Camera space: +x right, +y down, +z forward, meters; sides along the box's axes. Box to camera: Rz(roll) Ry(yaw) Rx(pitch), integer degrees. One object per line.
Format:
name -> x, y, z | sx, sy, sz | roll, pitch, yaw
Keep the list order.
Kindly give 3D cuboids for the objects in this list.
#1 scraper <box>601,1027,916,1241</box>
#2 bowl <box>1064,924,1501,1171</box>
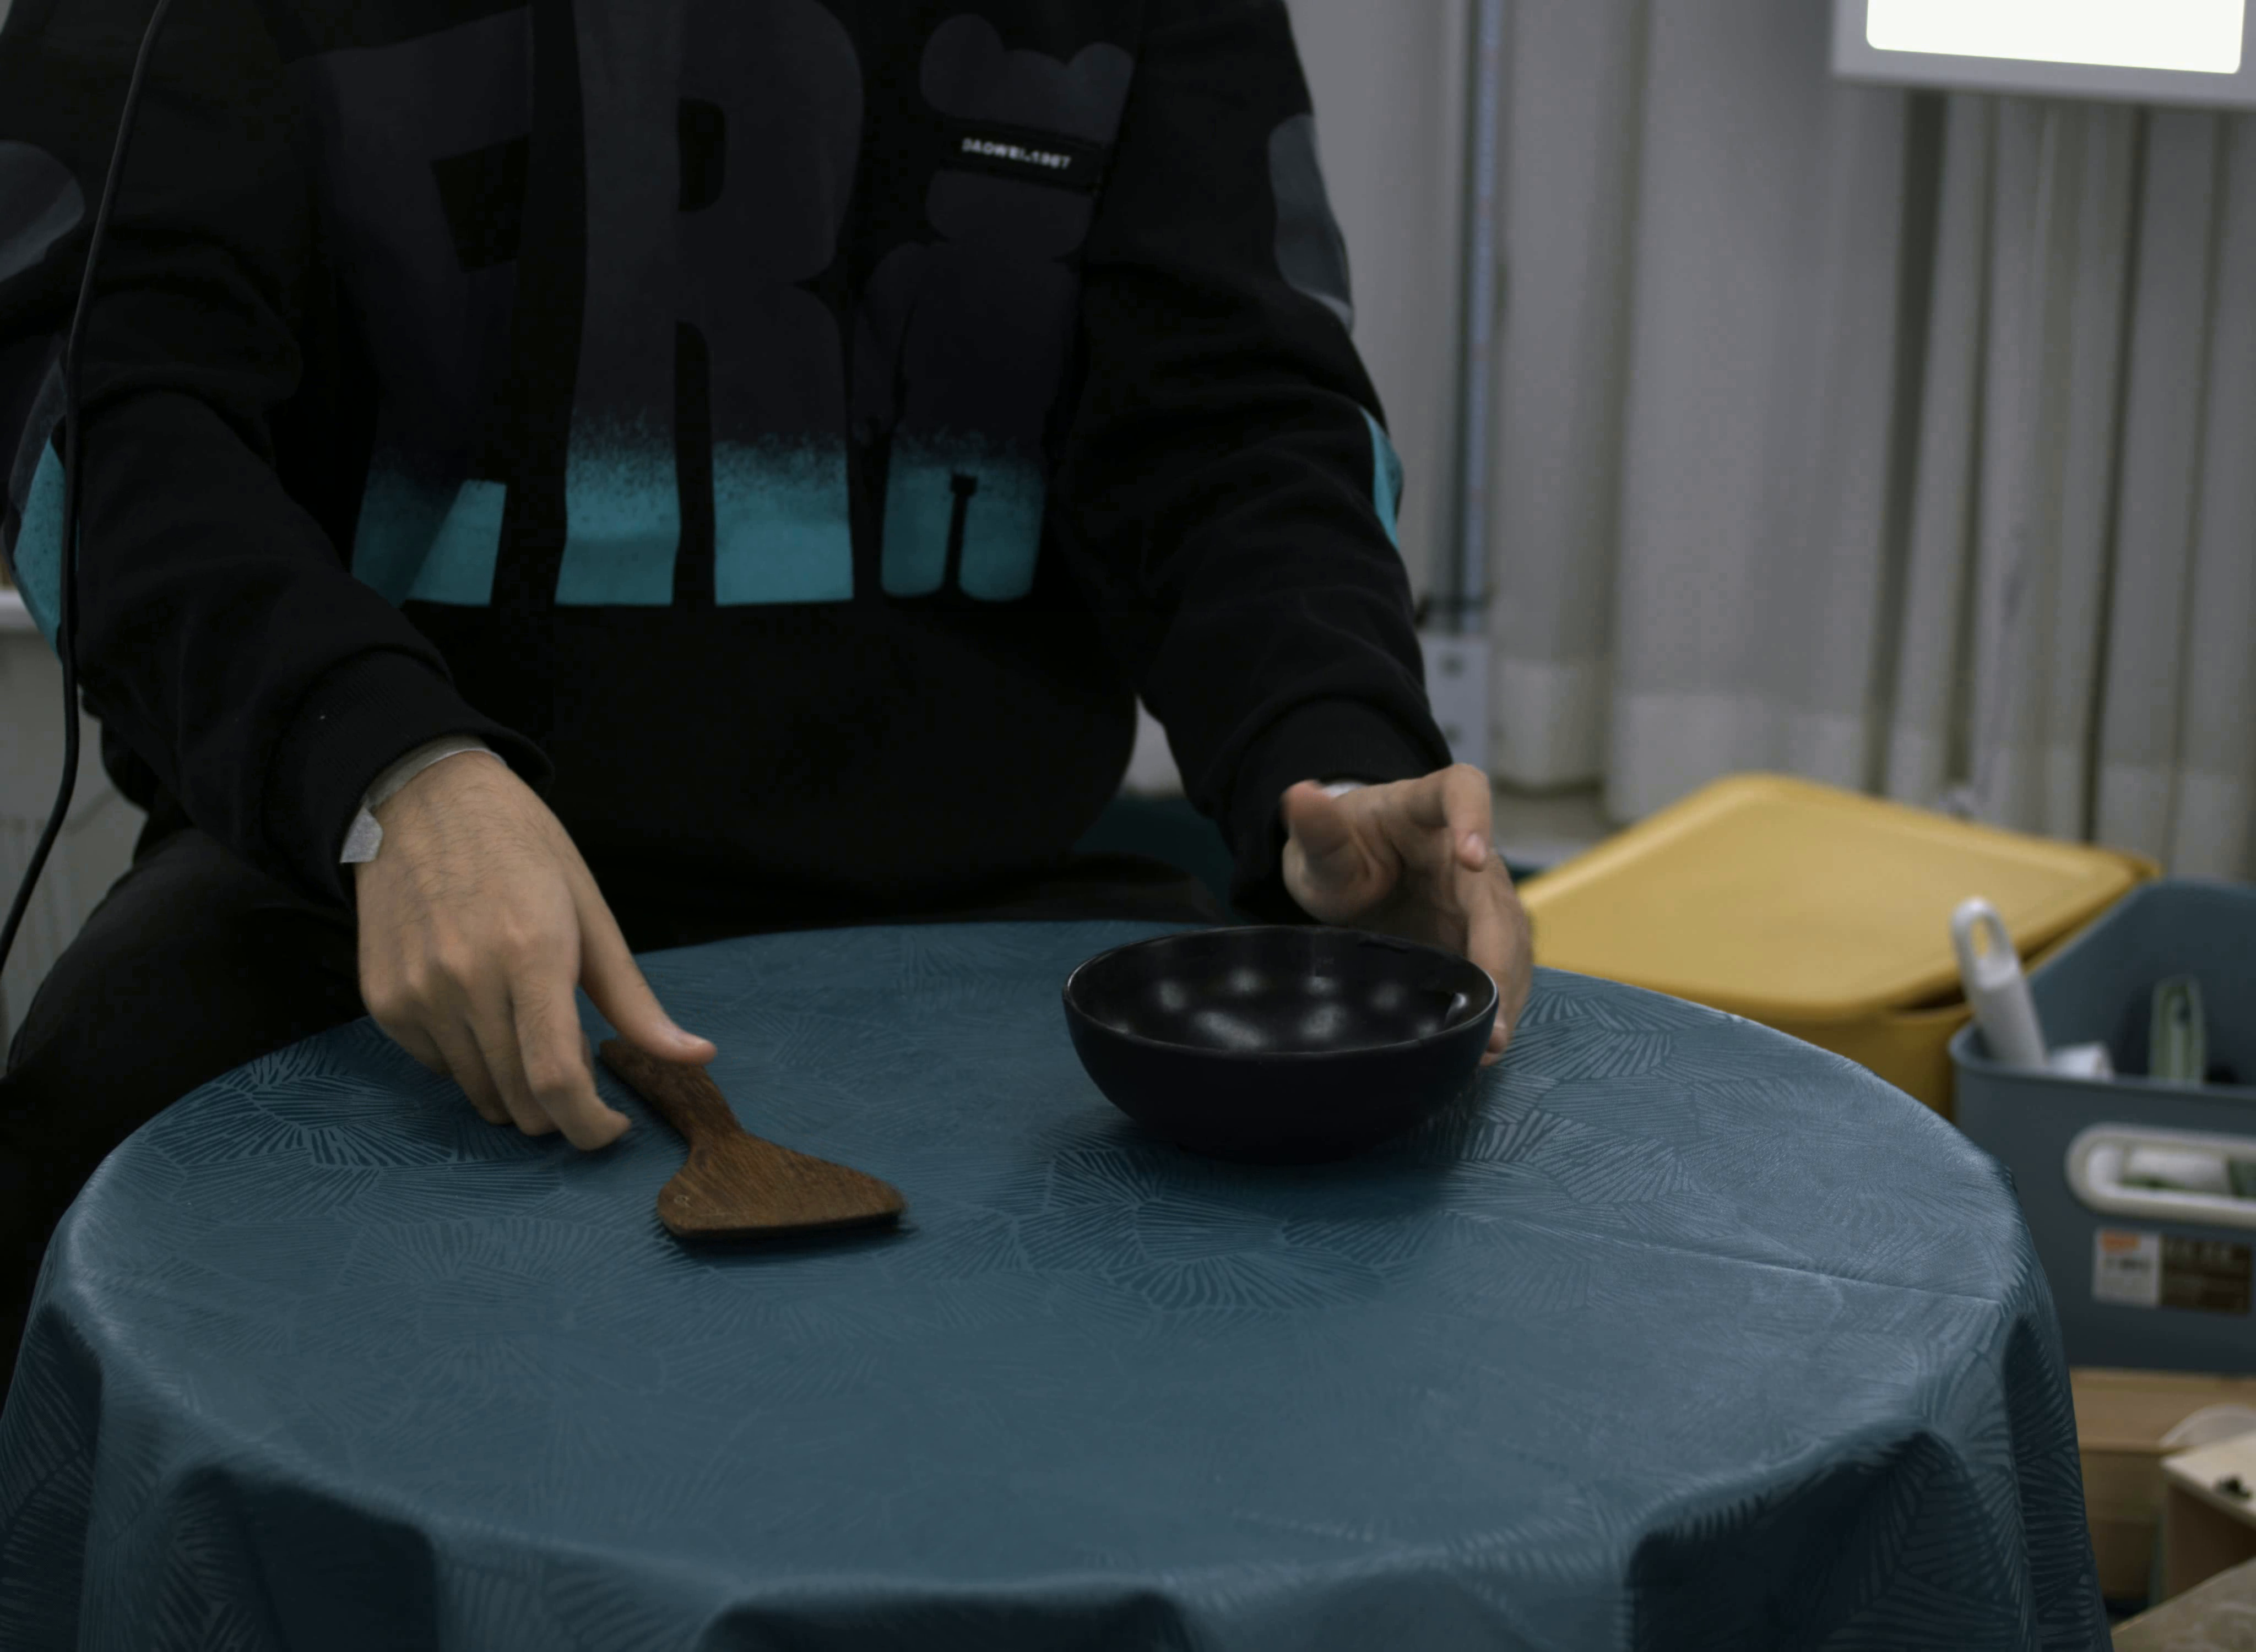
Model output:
scraper -> -0.130, 0.096, 1.662 | 0.076, 0.011, 0.209 | -3, 16, -19
bowl -> 0.050, 0.075, 1.675 | 0.139, 0.050, 0.139 | -2, 16, 1
